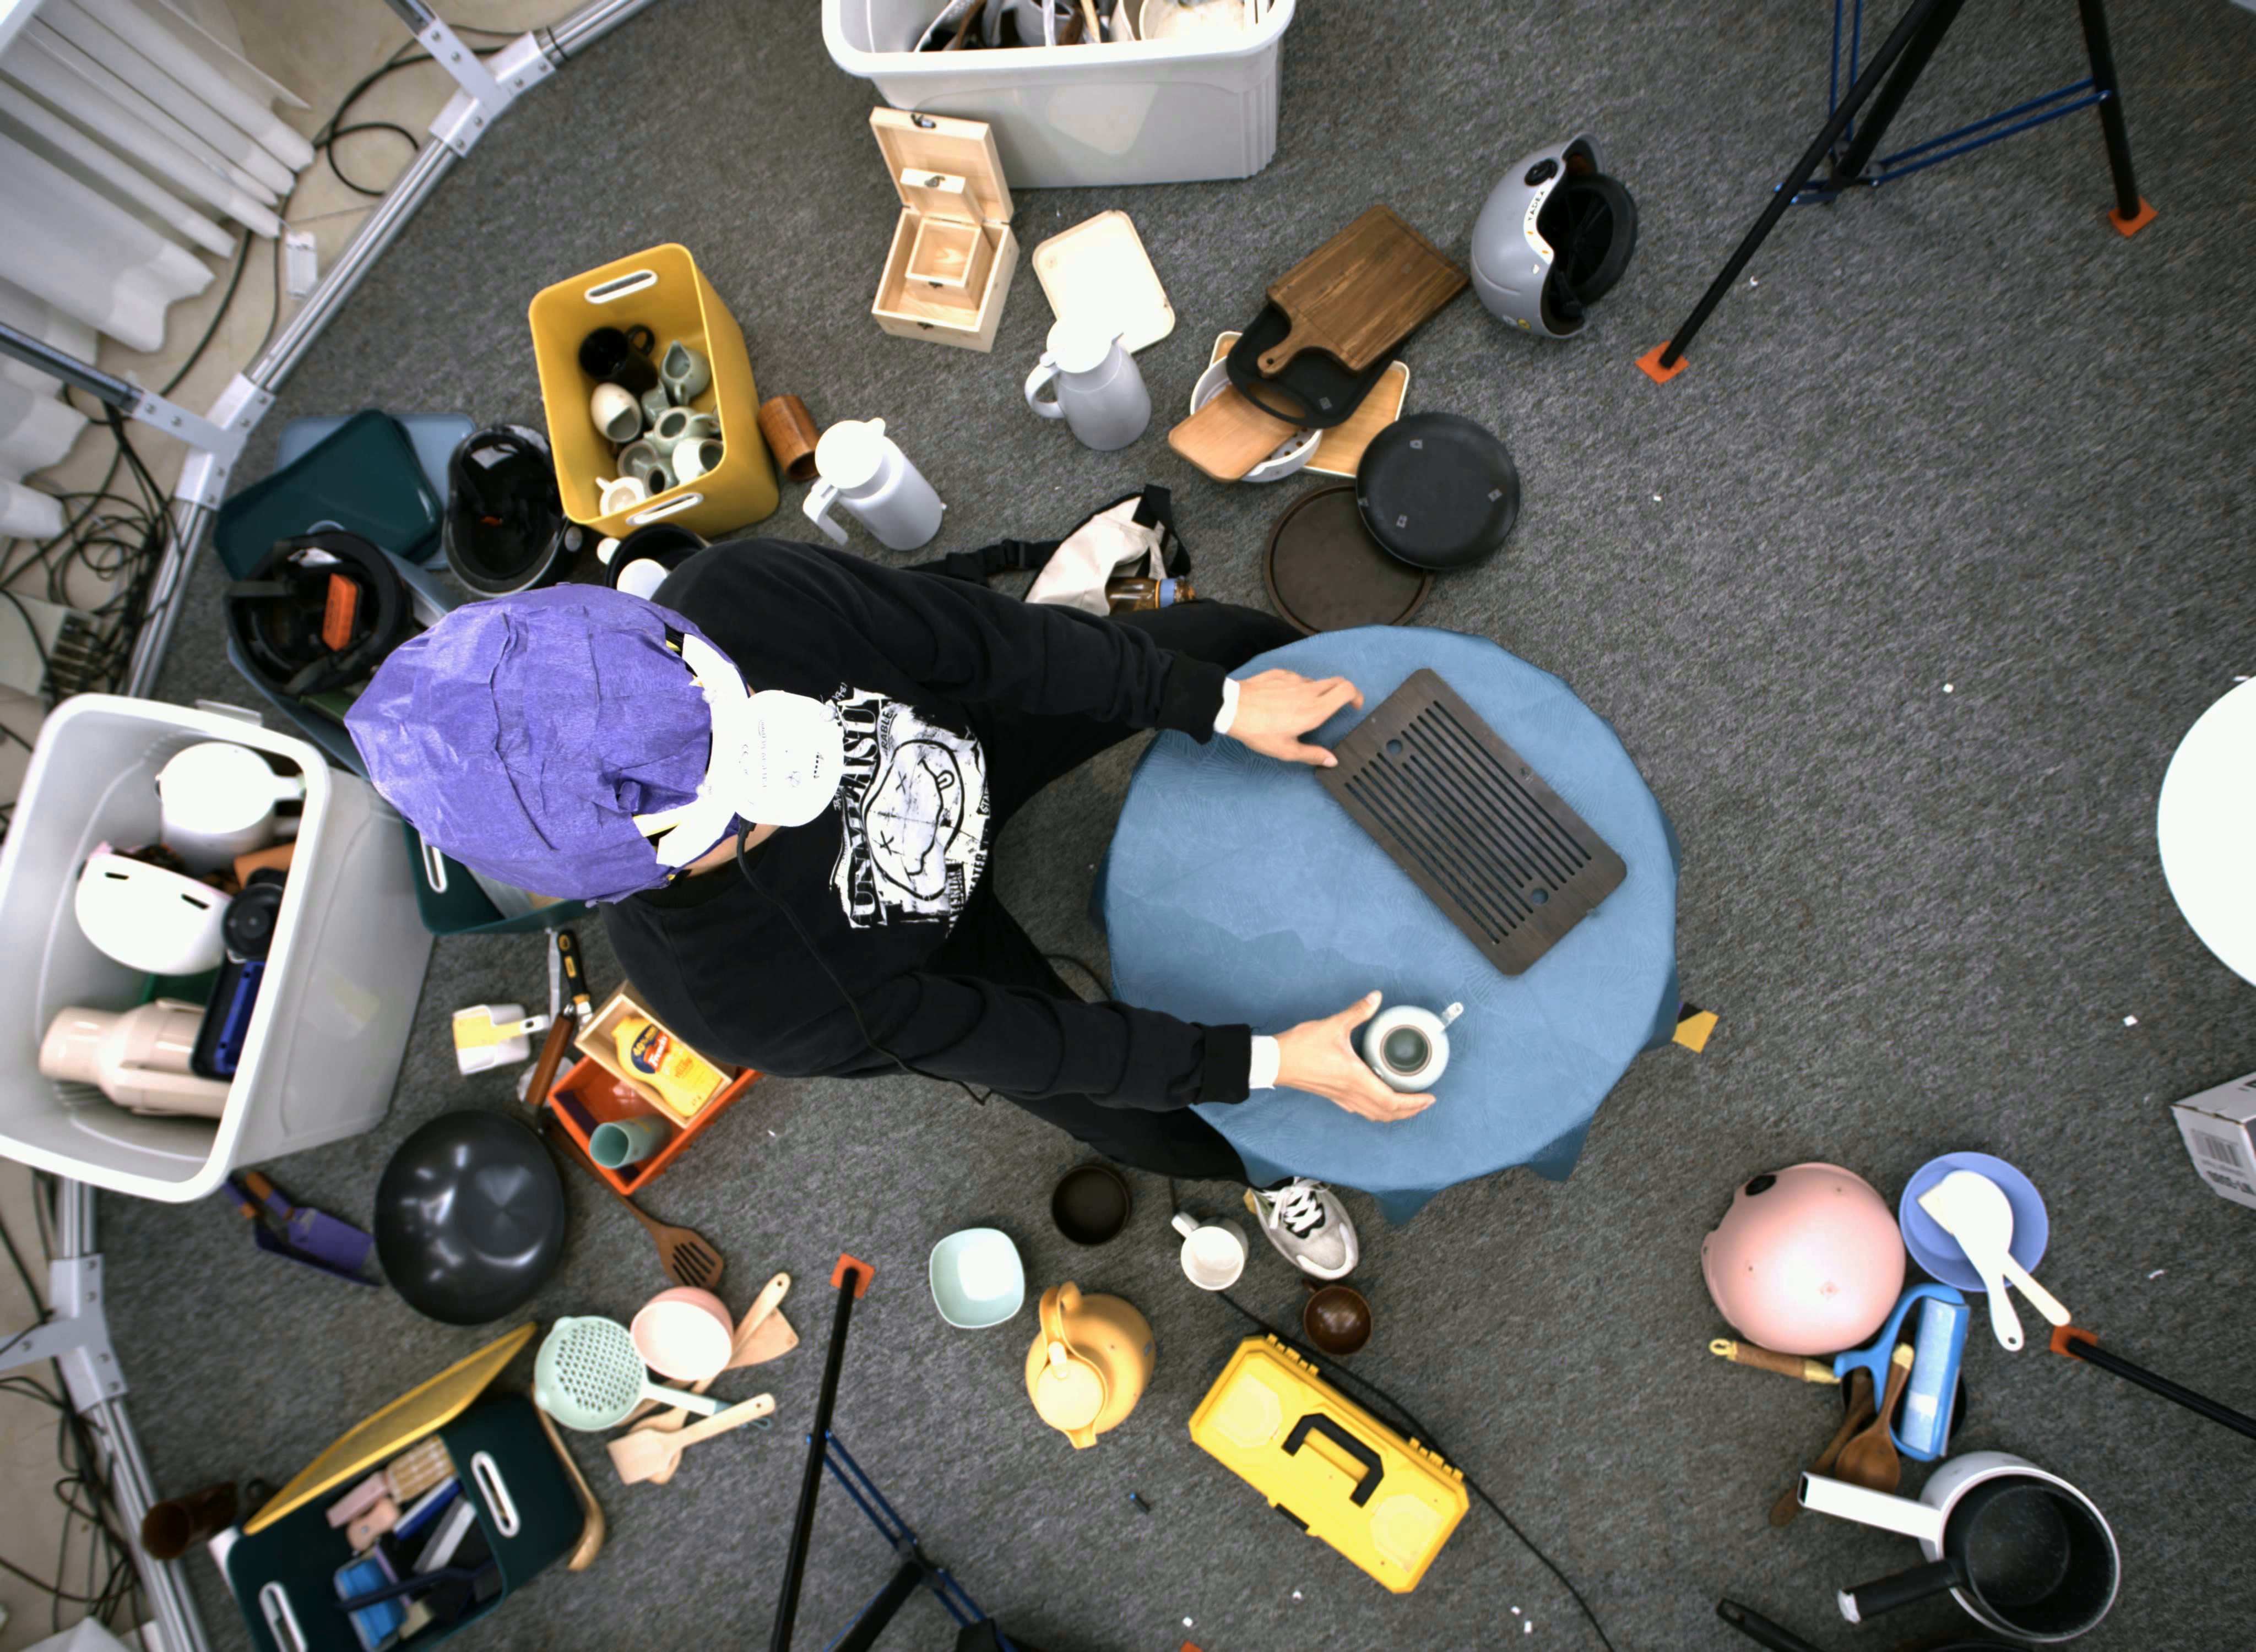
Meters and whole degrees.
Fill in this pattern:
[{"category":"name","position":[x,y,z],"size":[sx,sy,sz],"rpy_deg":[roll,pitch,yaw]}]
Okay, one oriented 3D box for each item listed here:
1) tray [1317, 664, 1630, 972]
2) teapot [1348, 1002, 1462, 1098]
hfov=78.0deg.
[{"category":"tray","position":[0.358,-0.012,1.439],"size":[0.171,0.018,0.304],"rpy_deg":[-43,80,6]},{"category":"teapot","position":[0.282,0.226,1.414],"size":[0.144,0.075,0.088],"rpy_deg":[-39,80,4]}]
